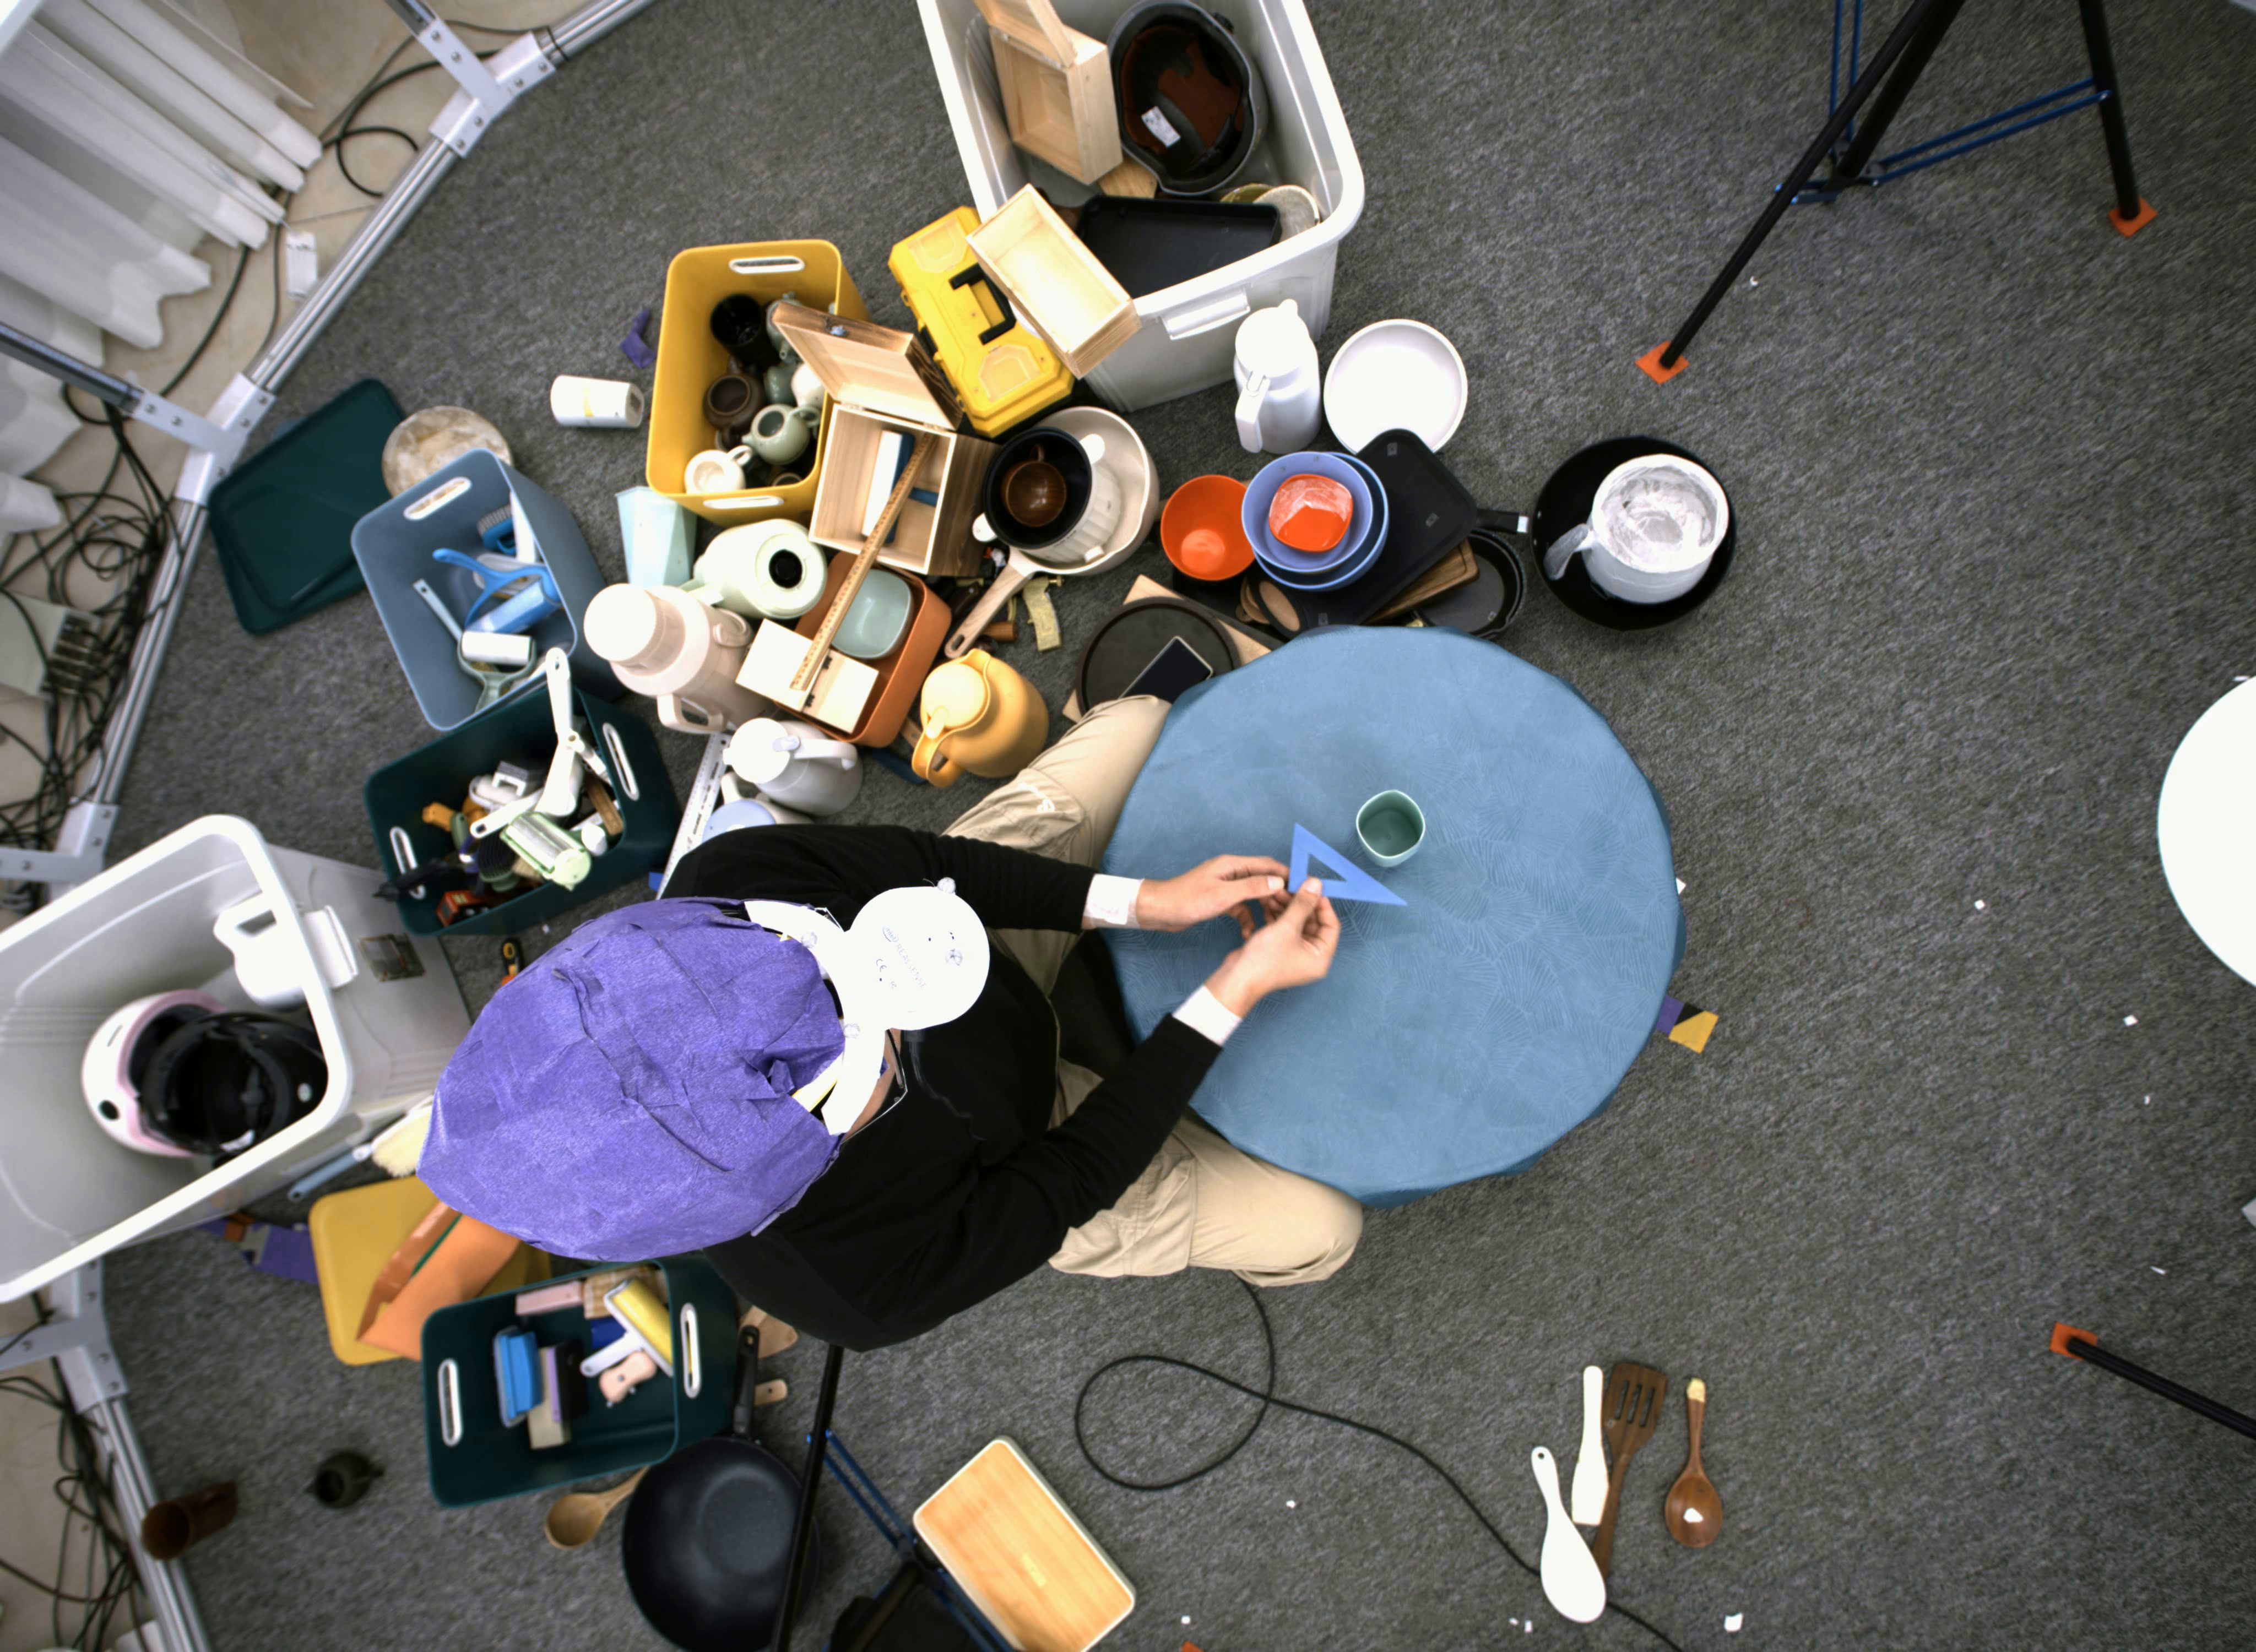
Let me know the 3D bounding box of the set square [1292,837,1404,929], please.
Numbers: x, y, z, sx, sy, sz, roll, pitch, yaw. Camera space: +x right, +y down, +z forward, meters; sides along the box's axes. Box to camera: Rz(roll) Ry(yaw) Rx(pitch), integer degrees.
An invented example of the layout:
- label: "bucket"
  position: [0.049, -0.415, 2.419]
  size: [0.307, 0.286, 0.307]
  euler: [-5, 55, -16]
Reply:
- label: "set square"
  position: [0.212, 0.073, 1.390]
  size: [0.132, 0.006, 0.061]
  euler: [40, 93, 5]

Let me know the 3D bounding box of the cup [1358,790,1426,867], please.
- label: "cup"
  position: [0.265, 0.004, 1.402]
  size: [0.067, 0.132, 0.066]
  euler: [-1, 84, 9]
